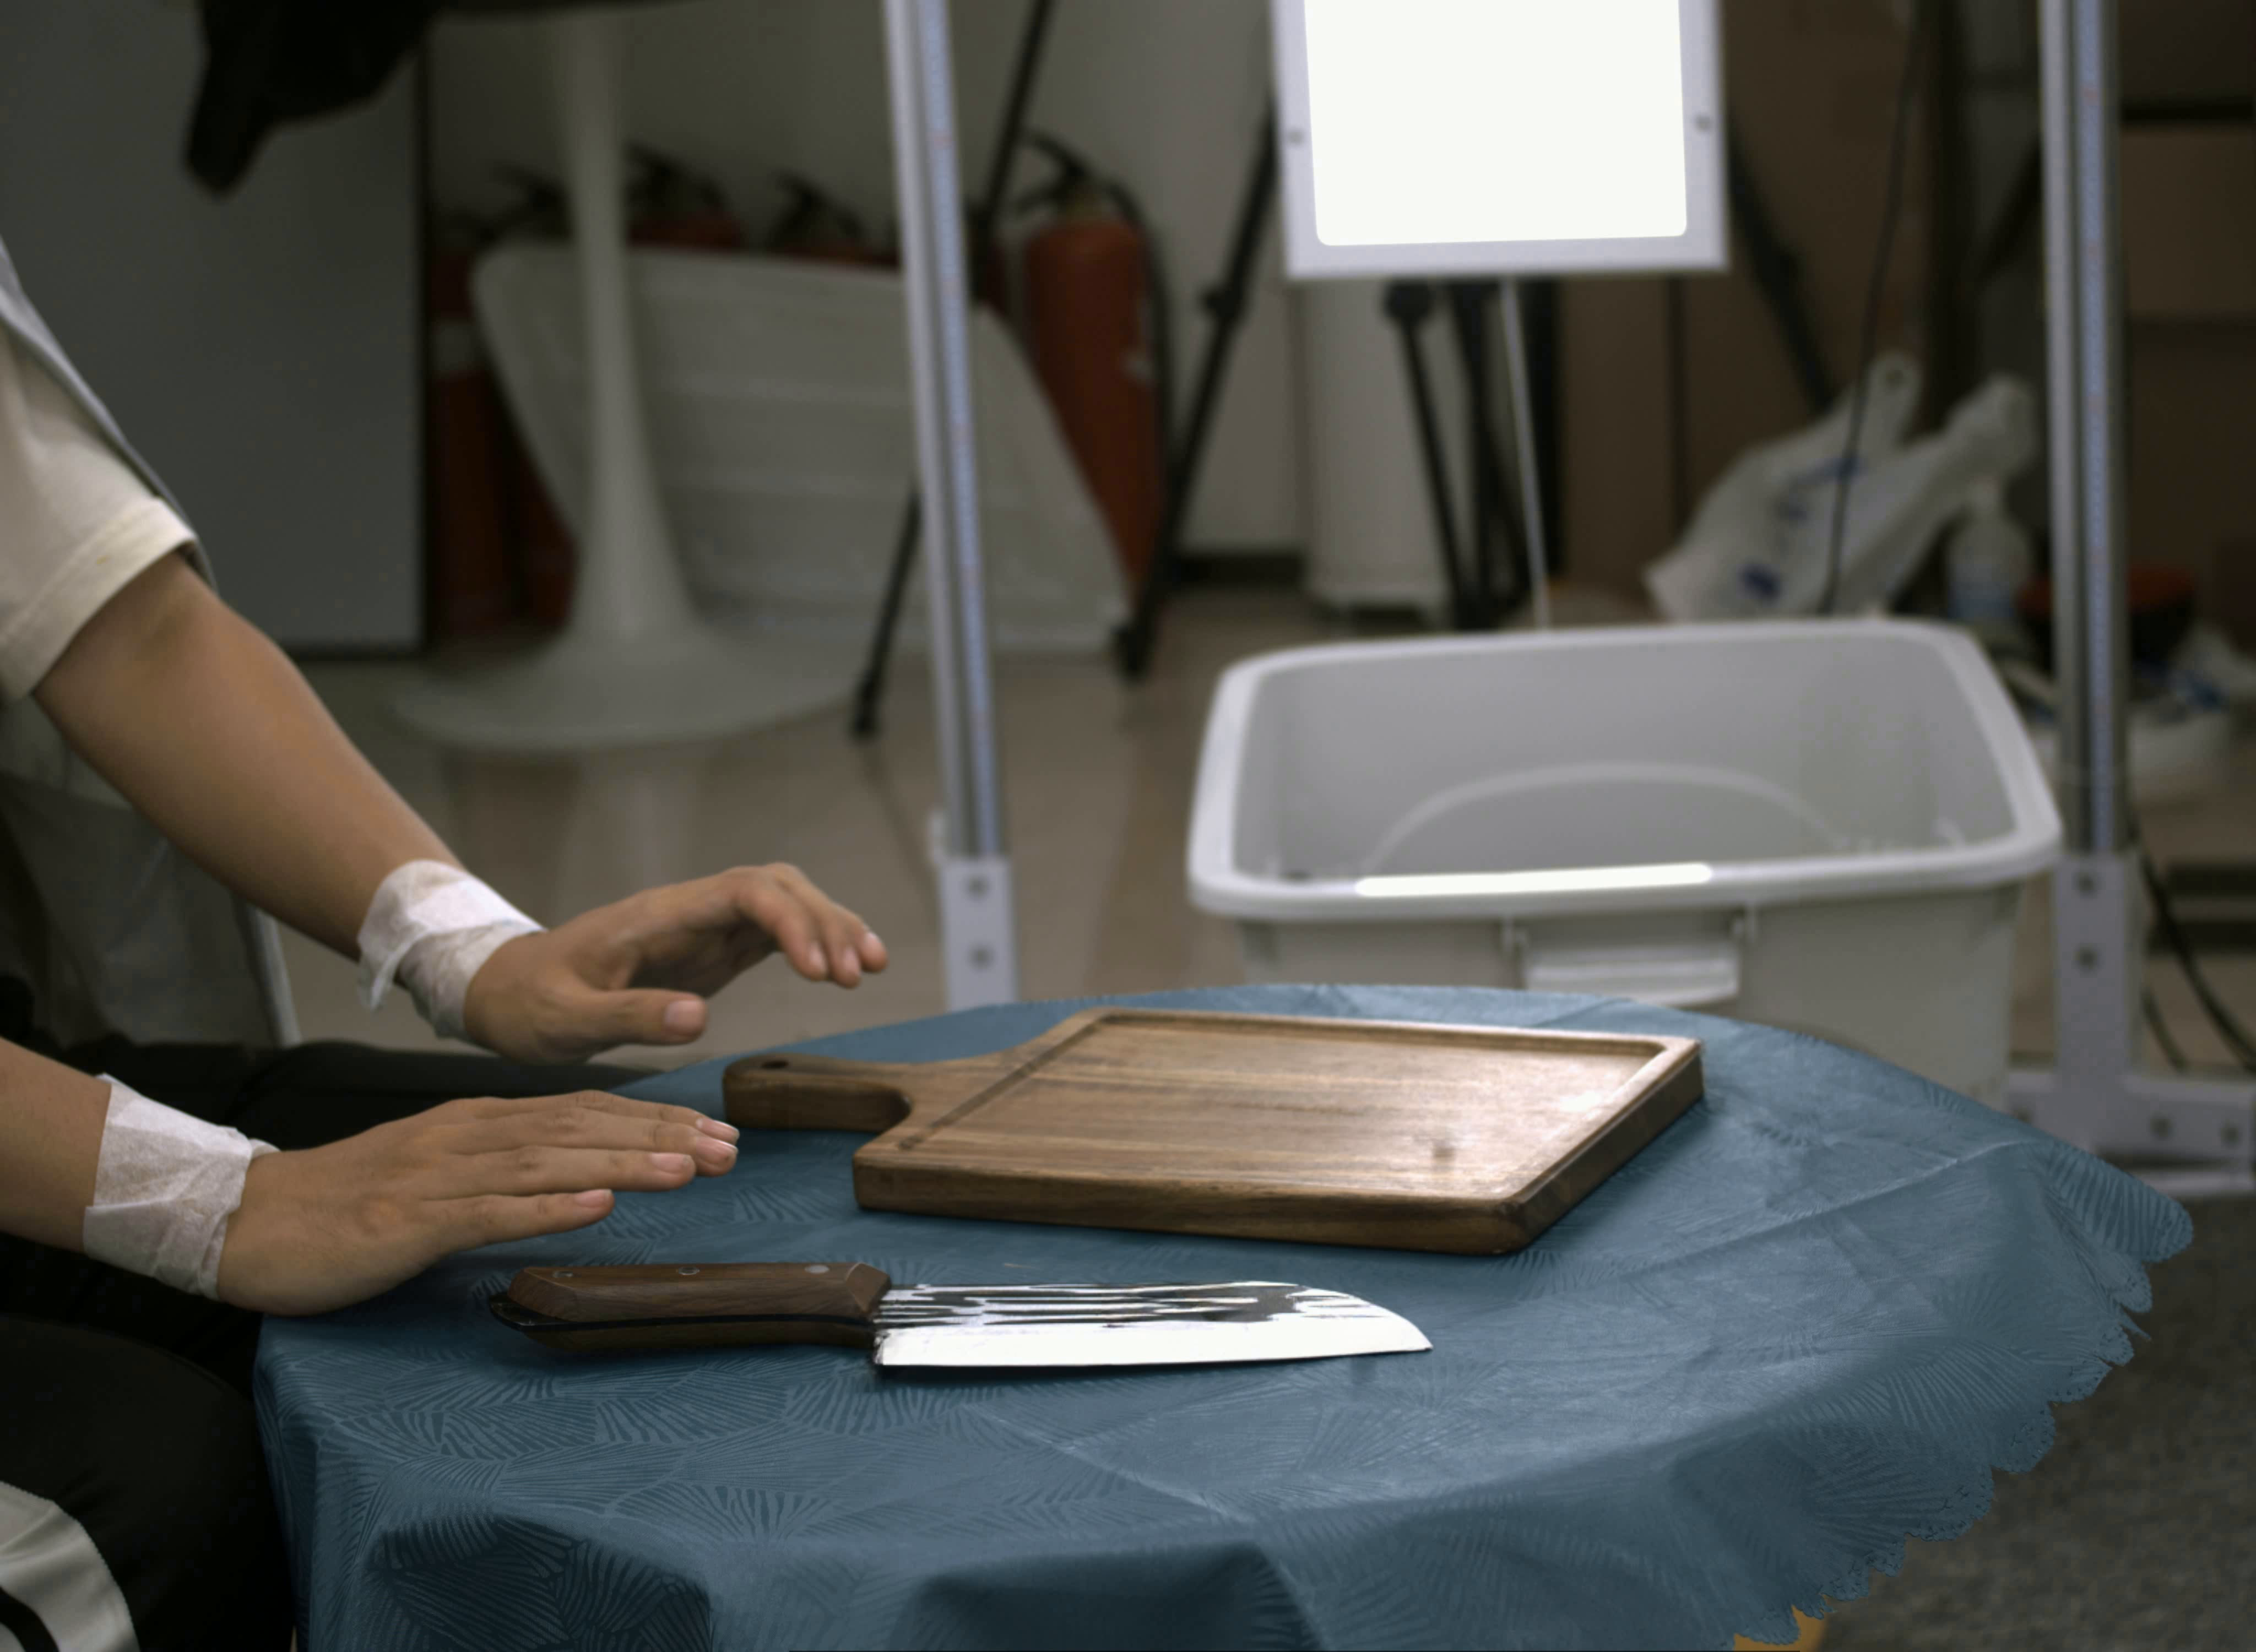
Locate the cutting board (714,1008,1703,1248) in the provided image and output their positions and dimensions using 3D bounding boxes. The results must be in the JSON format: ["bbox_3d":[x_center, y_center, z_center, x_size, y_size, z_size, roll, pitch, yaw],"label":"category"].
[{"bbox_3d":[0.010,0.102,1.951,0.358,0.023,0.197,1,15,27],"label":"cutting board"}]

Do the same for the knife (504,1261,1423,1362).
[{"bbox_3d":[-0.055,0.157,1.750,0.300,0.024,0.067,-1,16,7],"label":"knife"}]
